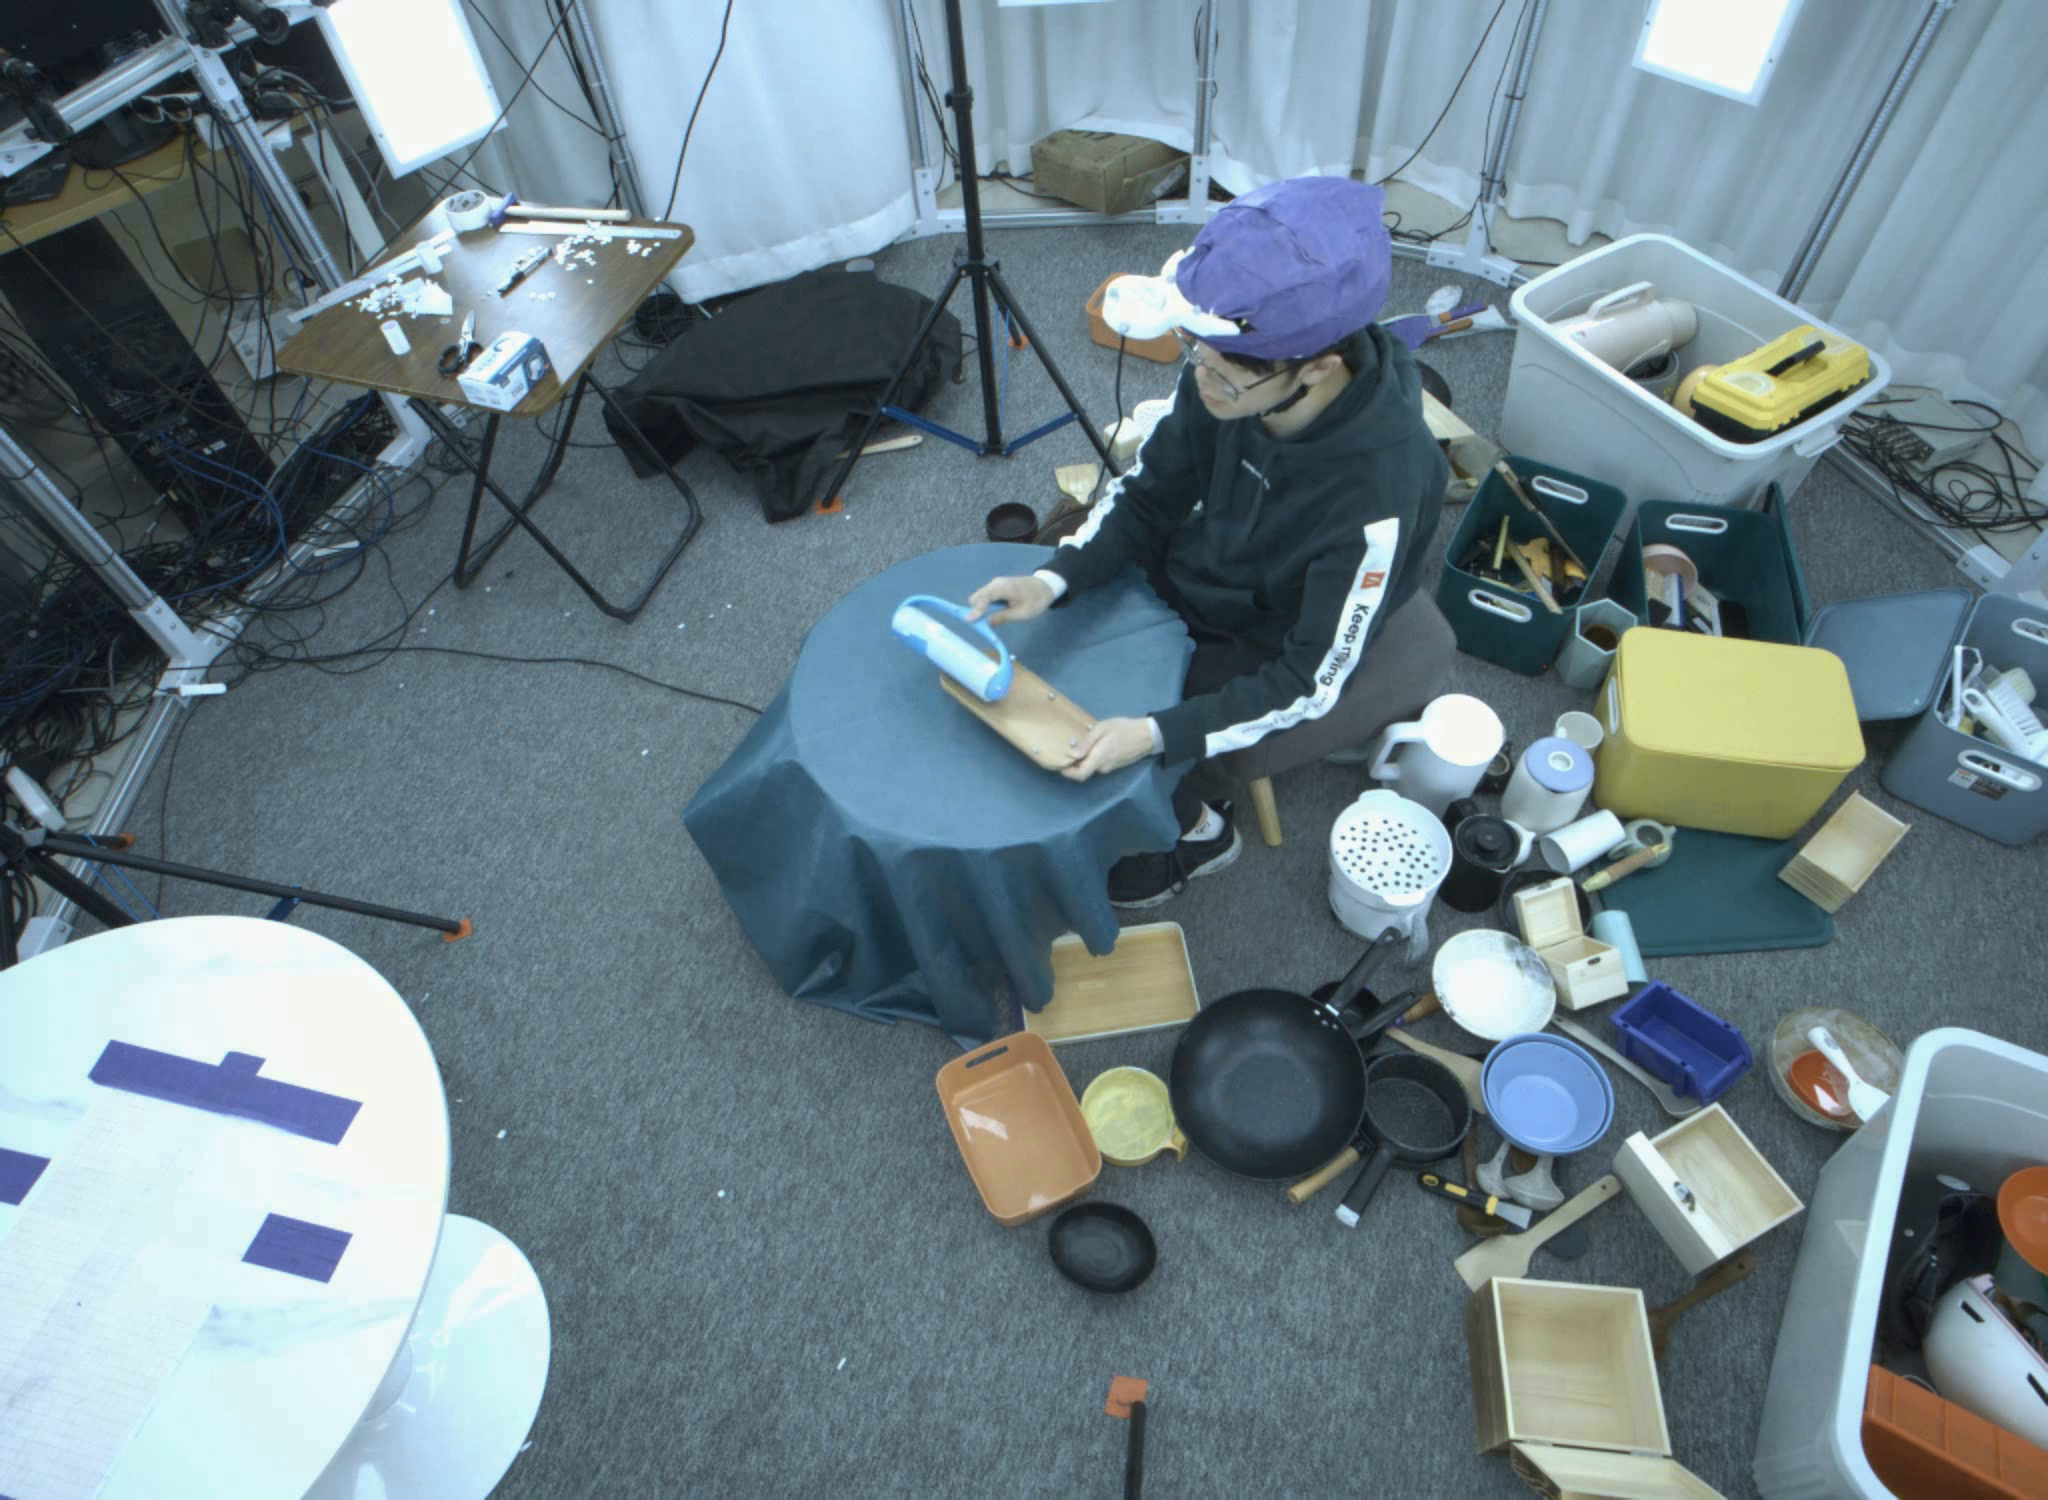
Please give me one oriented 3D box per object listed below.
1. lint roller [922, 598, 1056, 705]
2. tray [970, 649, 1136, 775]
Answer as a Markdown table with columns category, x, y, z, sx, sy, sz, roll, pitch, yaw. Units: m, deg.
| category | x | y | z | sx | sy | sz | roll | pitch | yaw |
| --- | --- | --- | --- | --- | --- | --- | --- | --- | --- |
| lint roller | -0.024 | -0.175 | 1.792 | 0.224 | 0.069 | 0.181 | 35 | 64 | 26 |
| tray | 0.039 | -0.057 | 1.762 | 0.132 | 0.023 | 0.246 | -27 | 57 | -38 |
